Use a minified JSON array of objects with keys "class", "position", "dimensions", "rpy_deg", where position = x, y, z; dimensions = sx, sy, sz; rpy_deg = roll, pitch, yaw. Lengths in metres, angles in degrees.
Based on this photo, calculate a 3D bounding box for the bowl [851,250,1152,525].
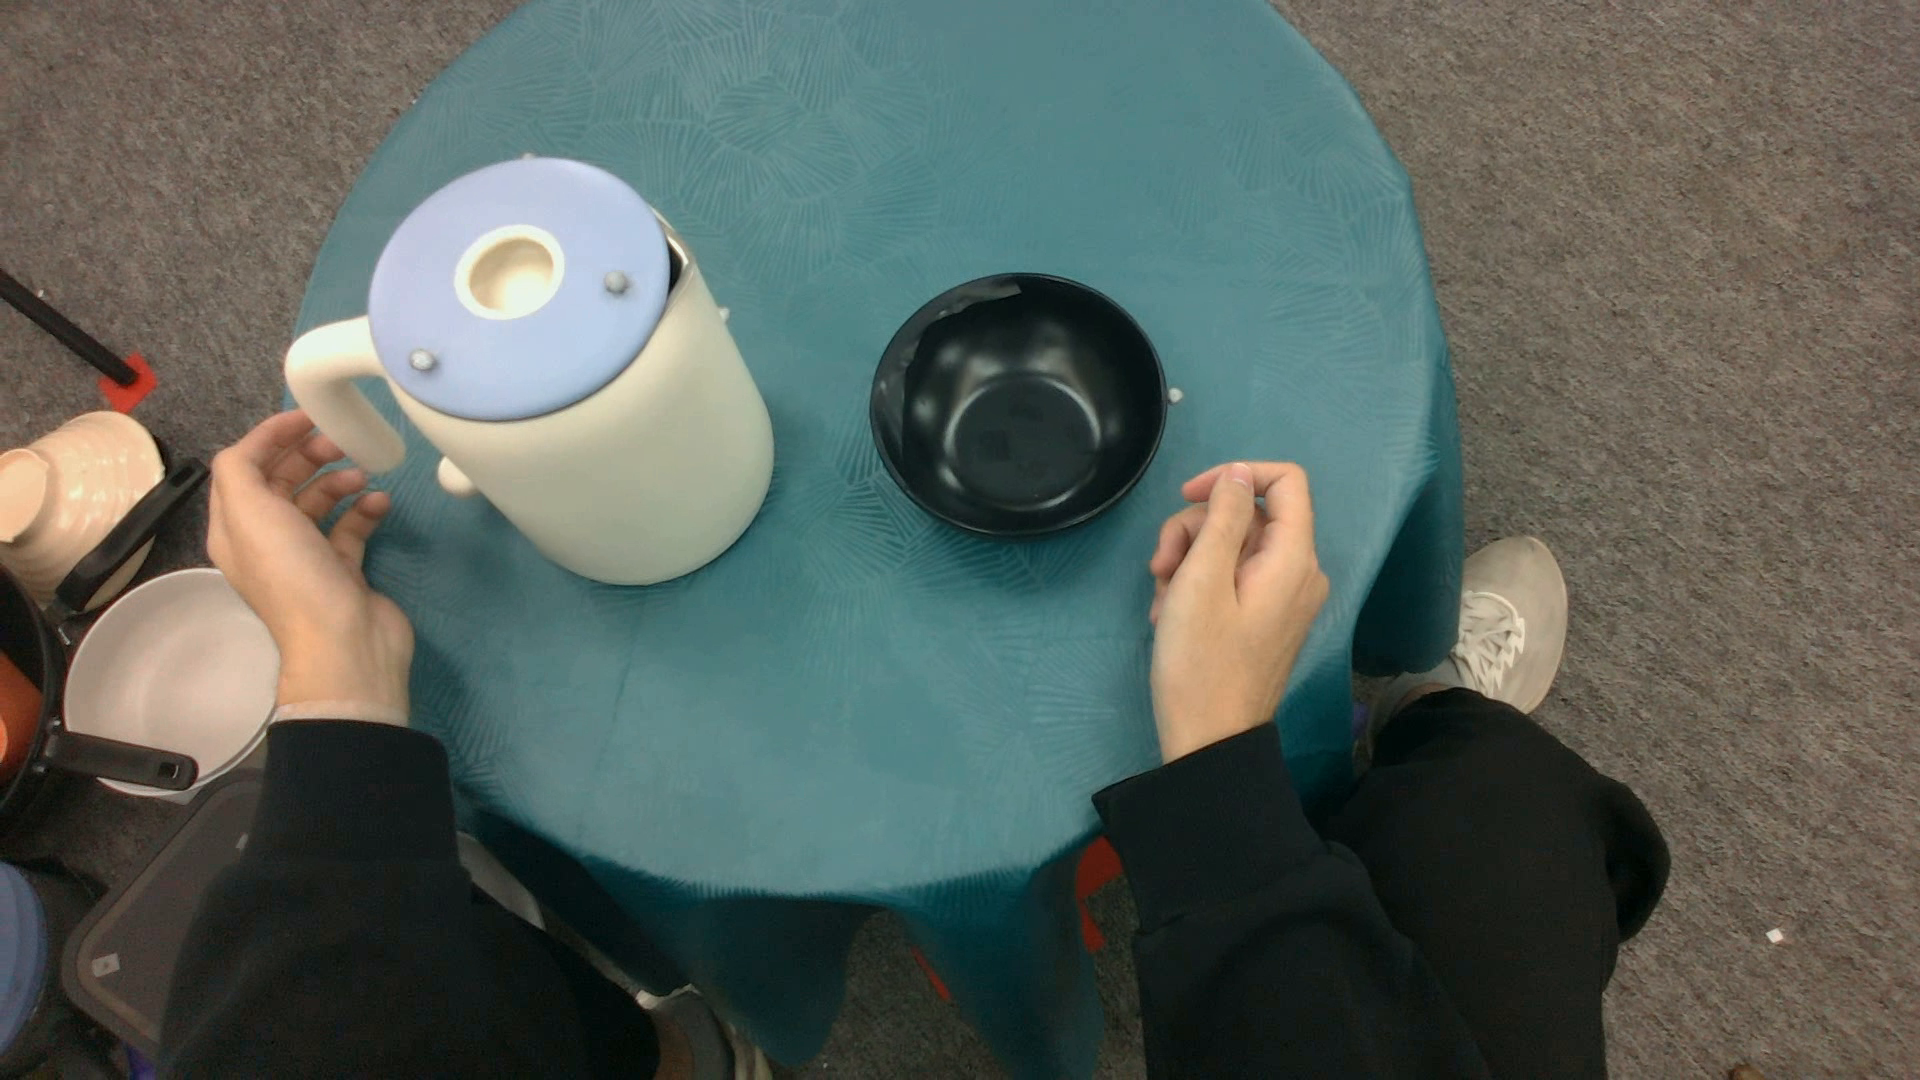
[{"class":"bowl","position":[0.020,-0.066,0.654],"dimensions":[0.140,0.049,0.140],"rpy_deg":[-1,69,4]}]

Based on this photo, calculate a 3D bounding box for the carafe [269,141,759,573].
[{"class":"carafe","position":[-0.194,-0.069,0.608],"dimensions":[0.191,0.182,0.132],"rpy_deg":[-12,66,3]}]
